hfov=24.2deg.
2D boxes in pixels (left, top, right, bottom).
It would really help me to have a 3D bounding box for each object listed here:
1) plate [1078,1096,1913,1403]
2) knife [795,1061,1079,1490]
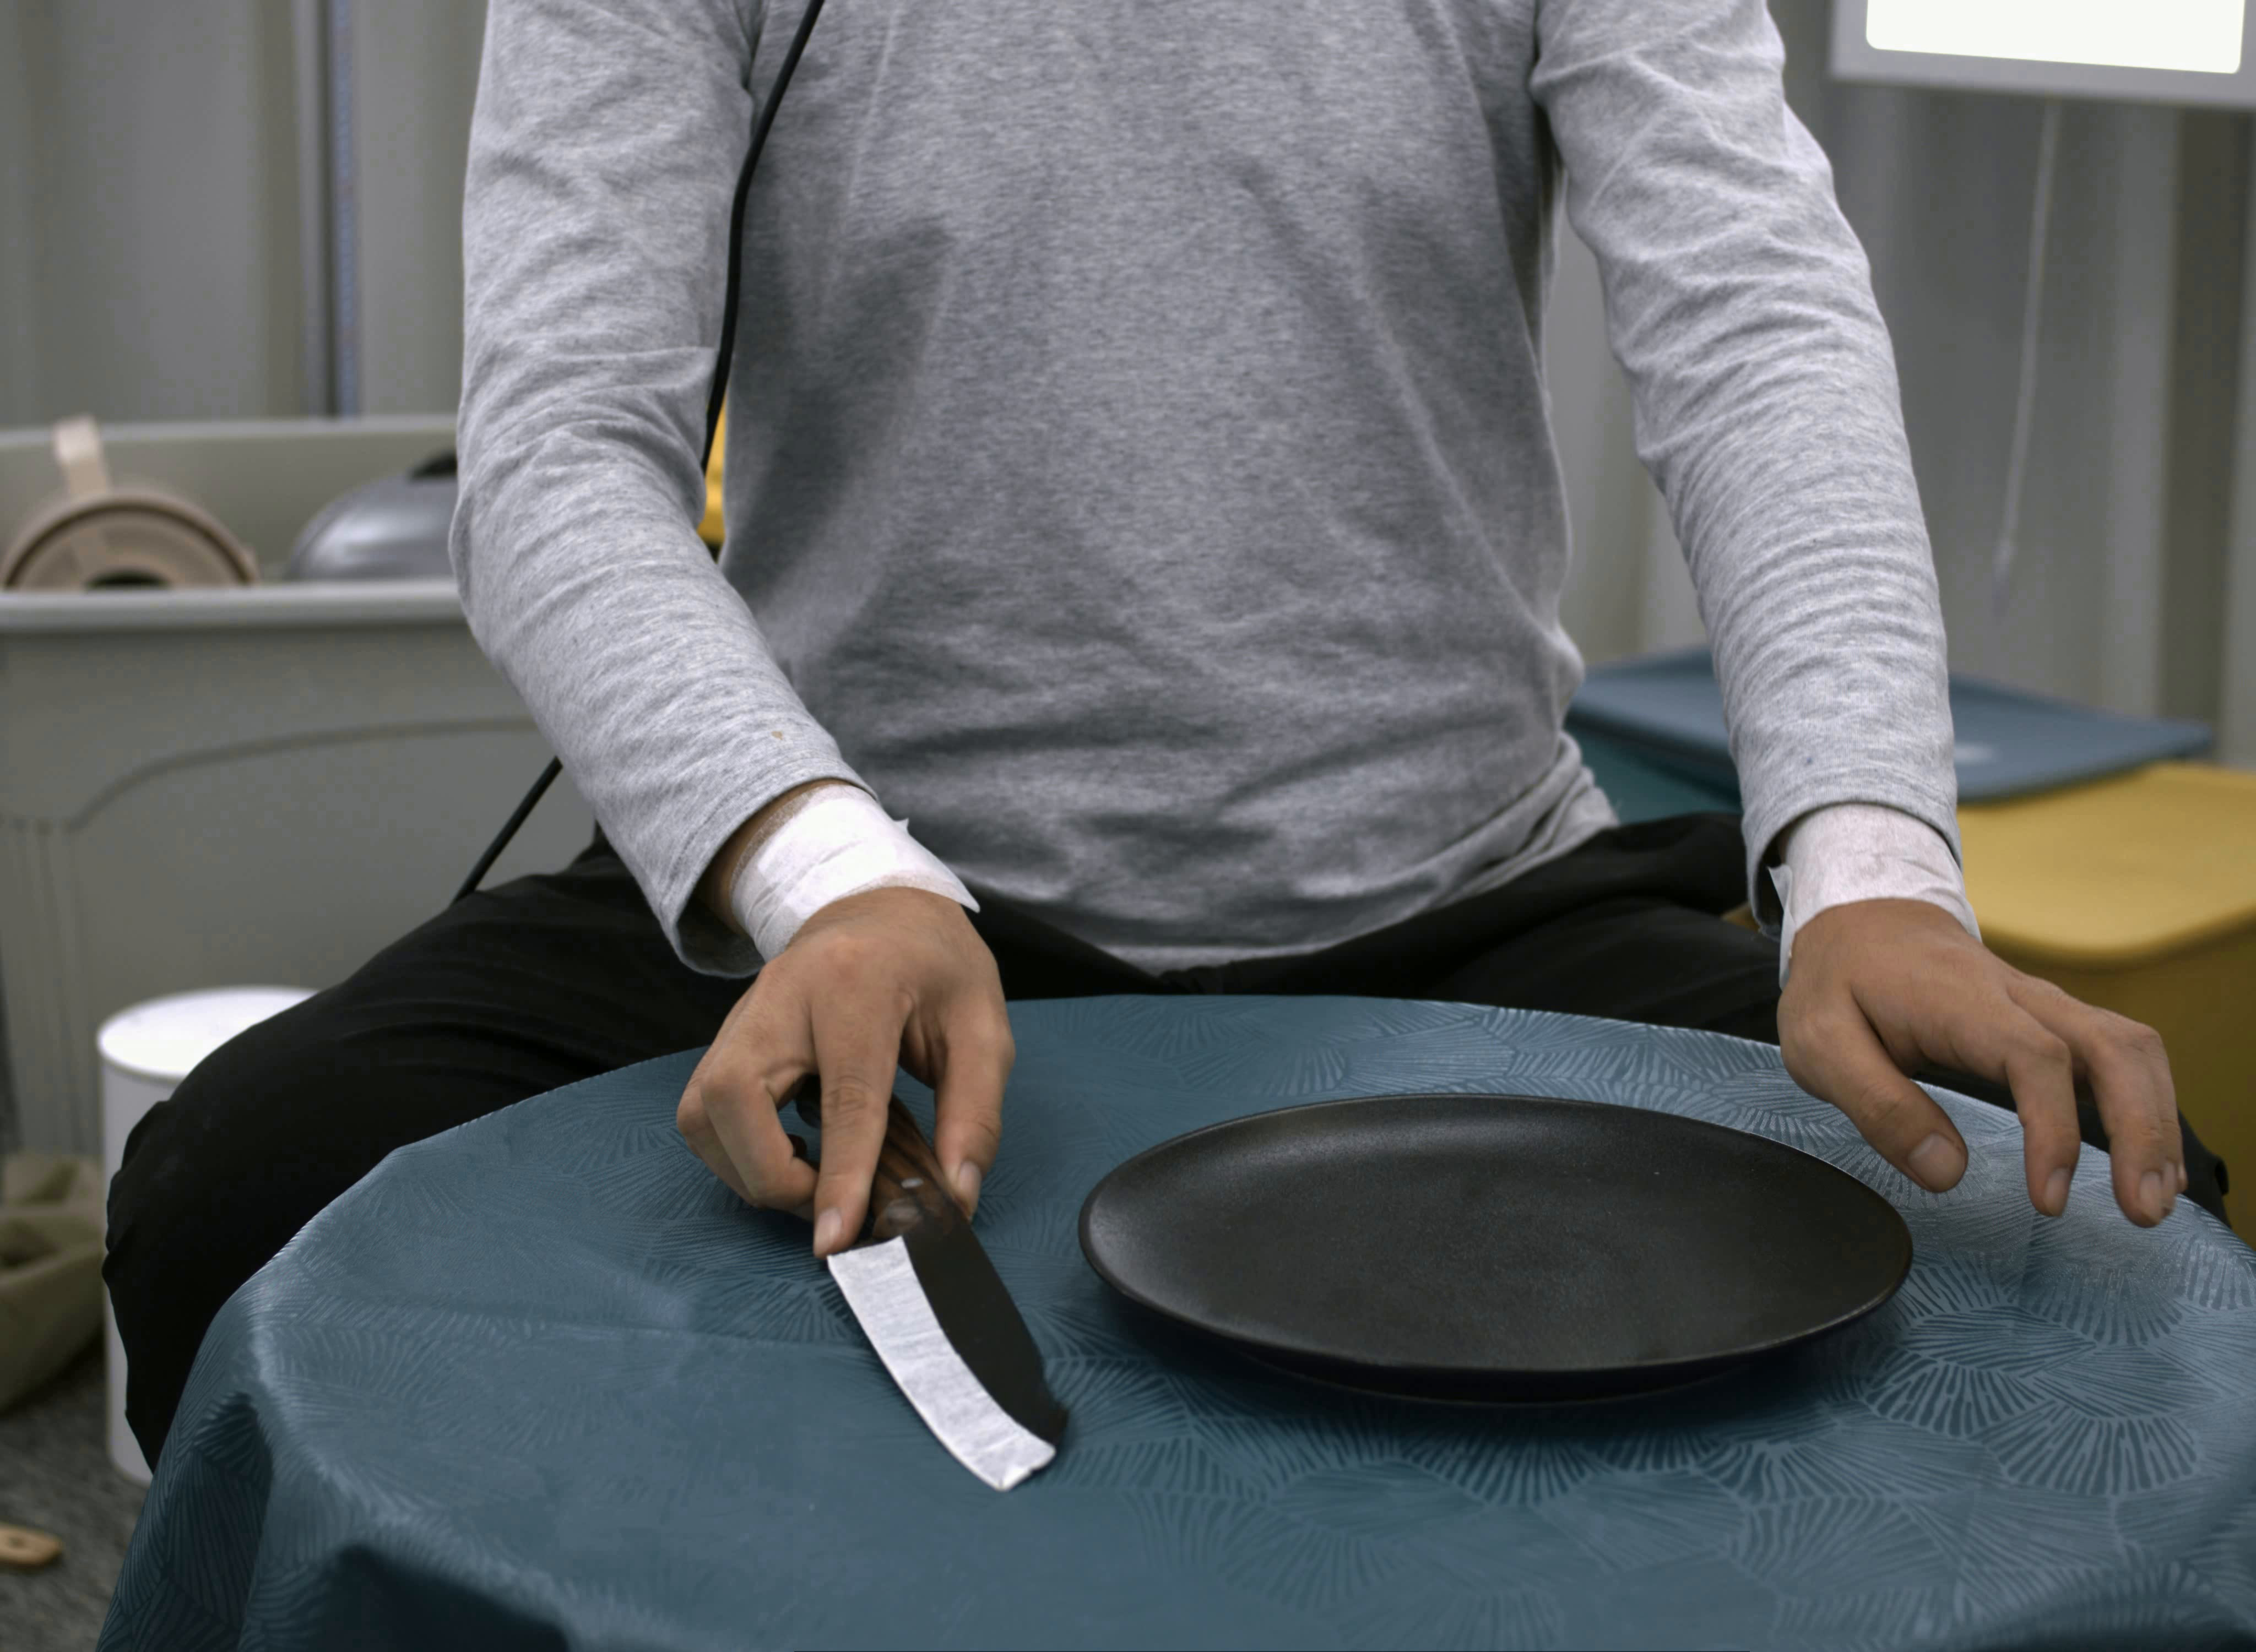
[{"bbox_3d":[0.106,0.126,1.538,0.243,0.023,0.243,1,15,0],"label":"plate"},{"bbox_3d":[-0.060,0.128,1.523,0.050,0.020,0.286,-13,22,-9],"label":"knife"}]
